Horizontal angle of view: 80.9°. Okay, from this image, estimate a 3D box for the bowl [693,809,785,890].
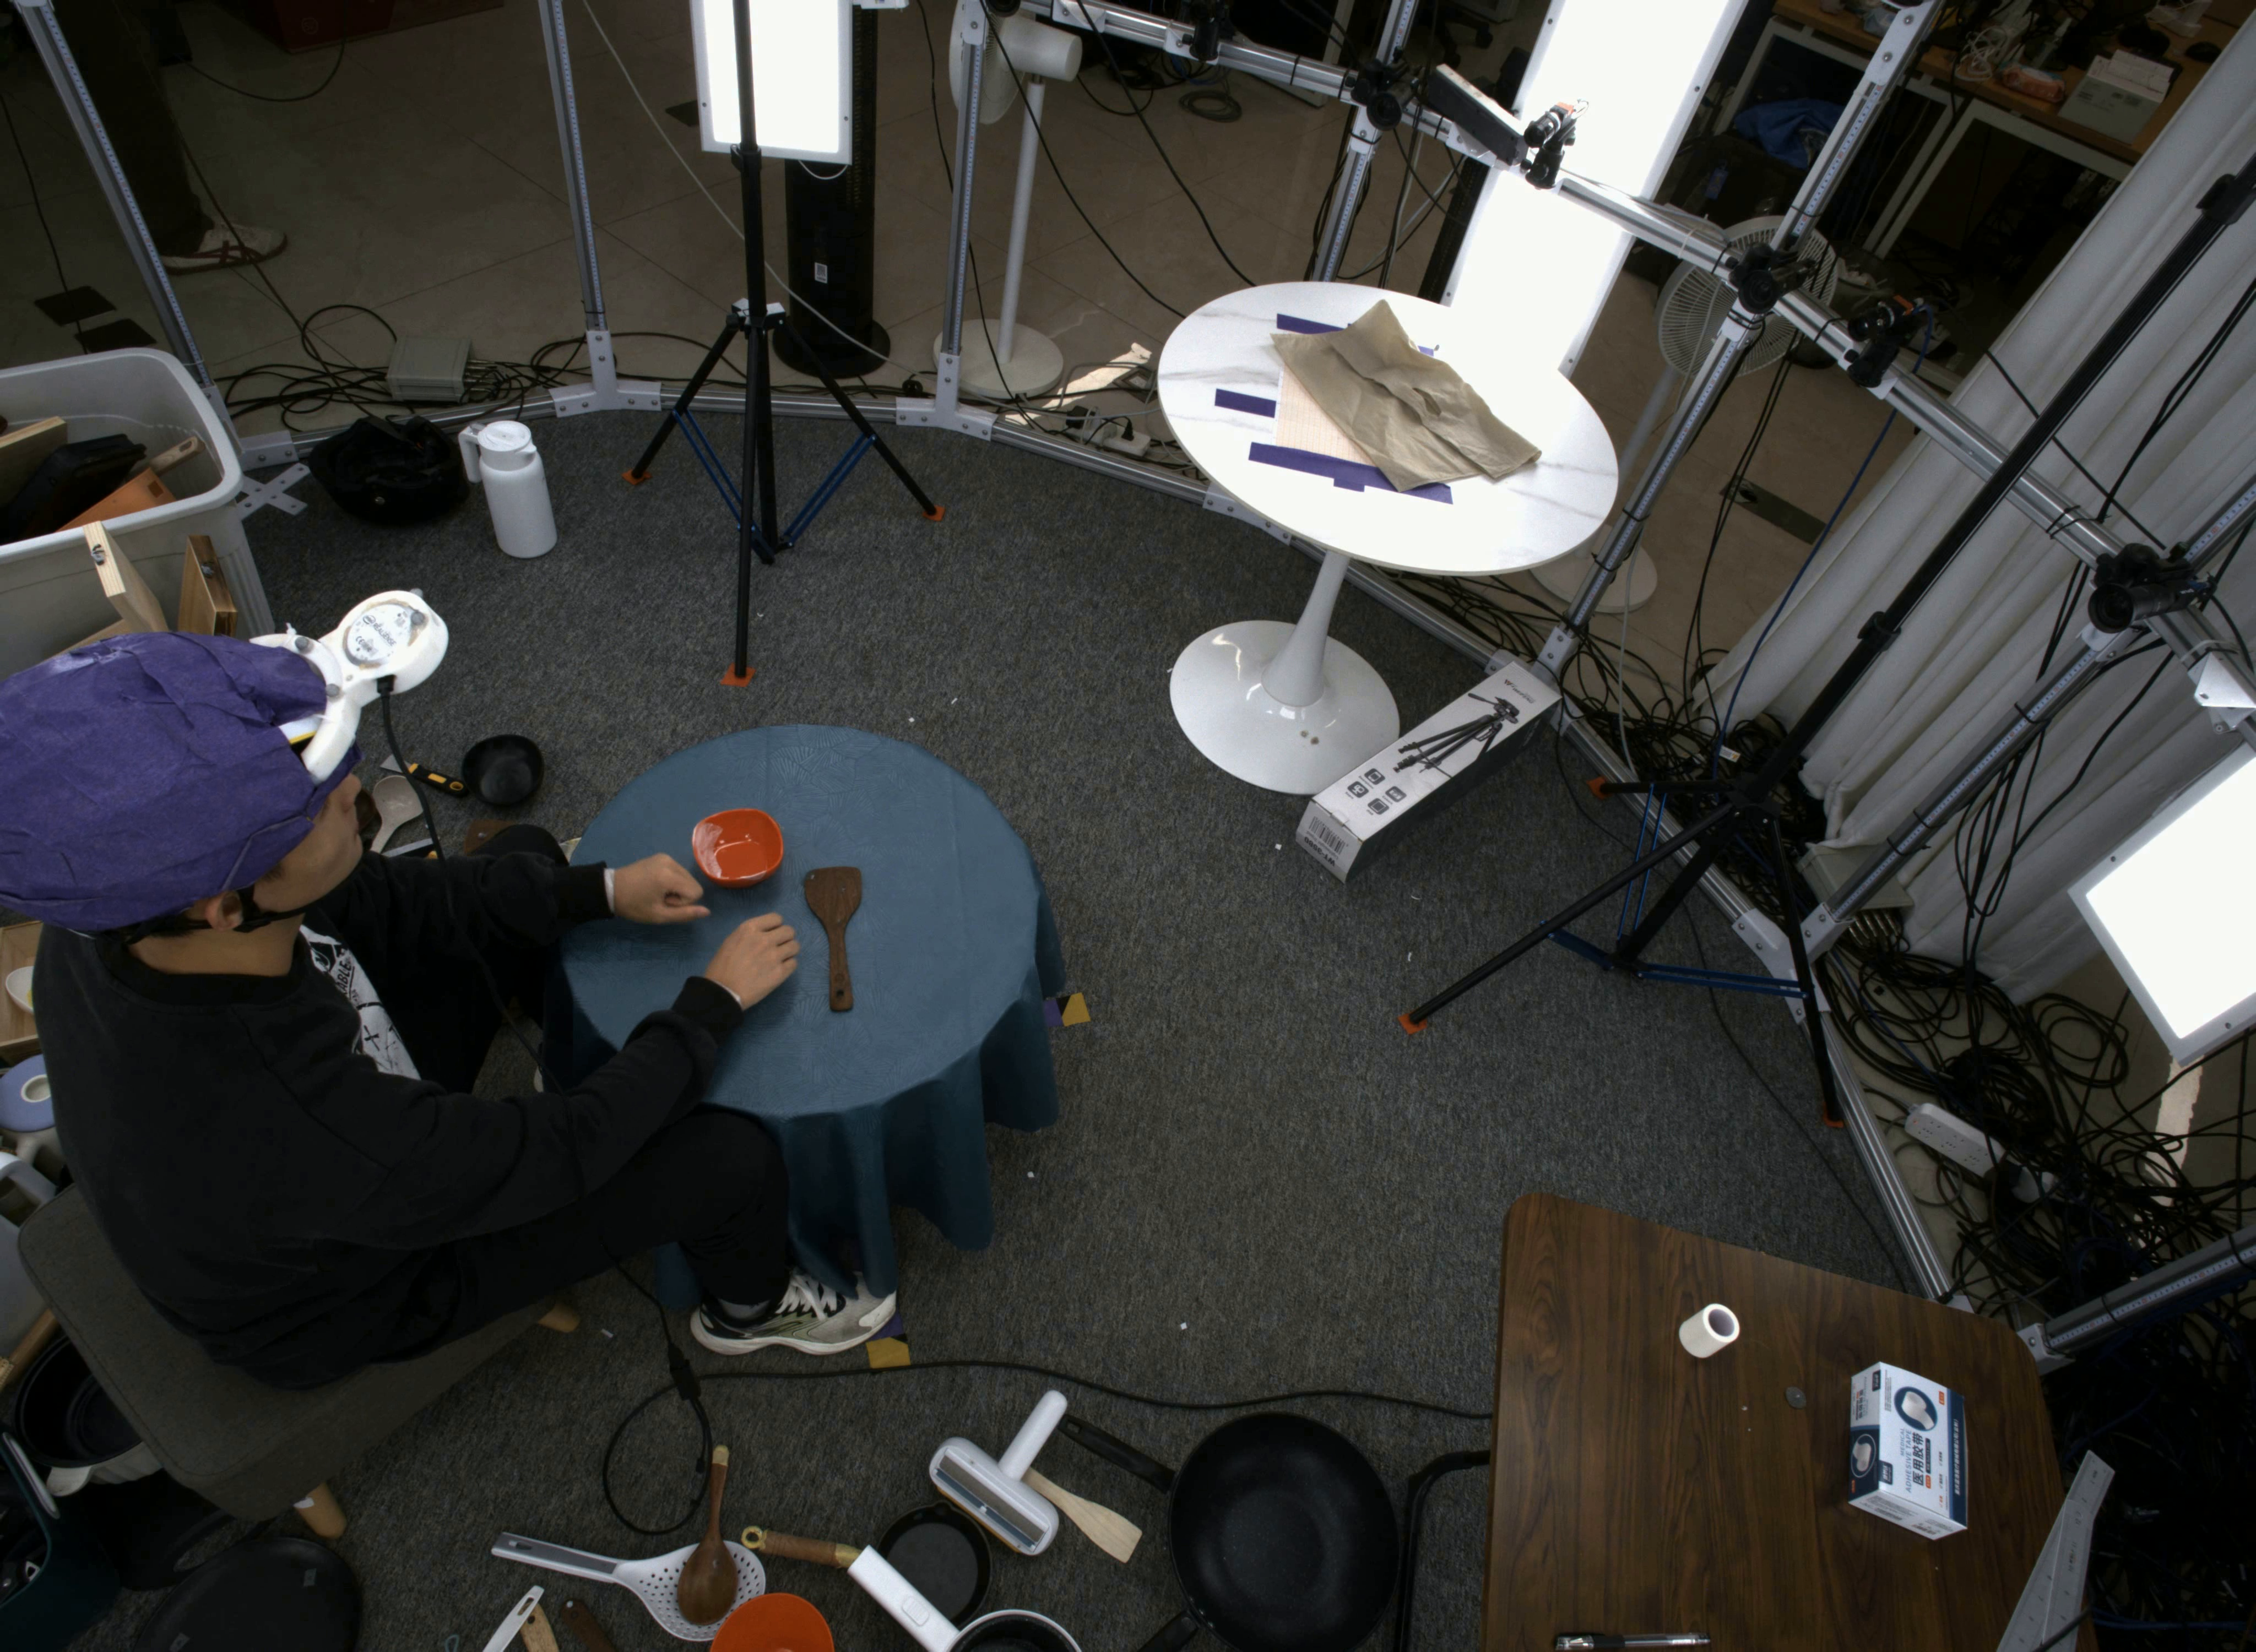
[{"bbox_3d":[-0.496,0.037,1.652,0.119,0.052,0.117,8,52,-9],"label":"bowl"}]

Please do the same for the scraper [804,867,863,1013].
[{"bbox_3d":[-0.366,0.139,1.635,0.076,0.011,0.206,-2,55,-16],"label":"scraper"}]
